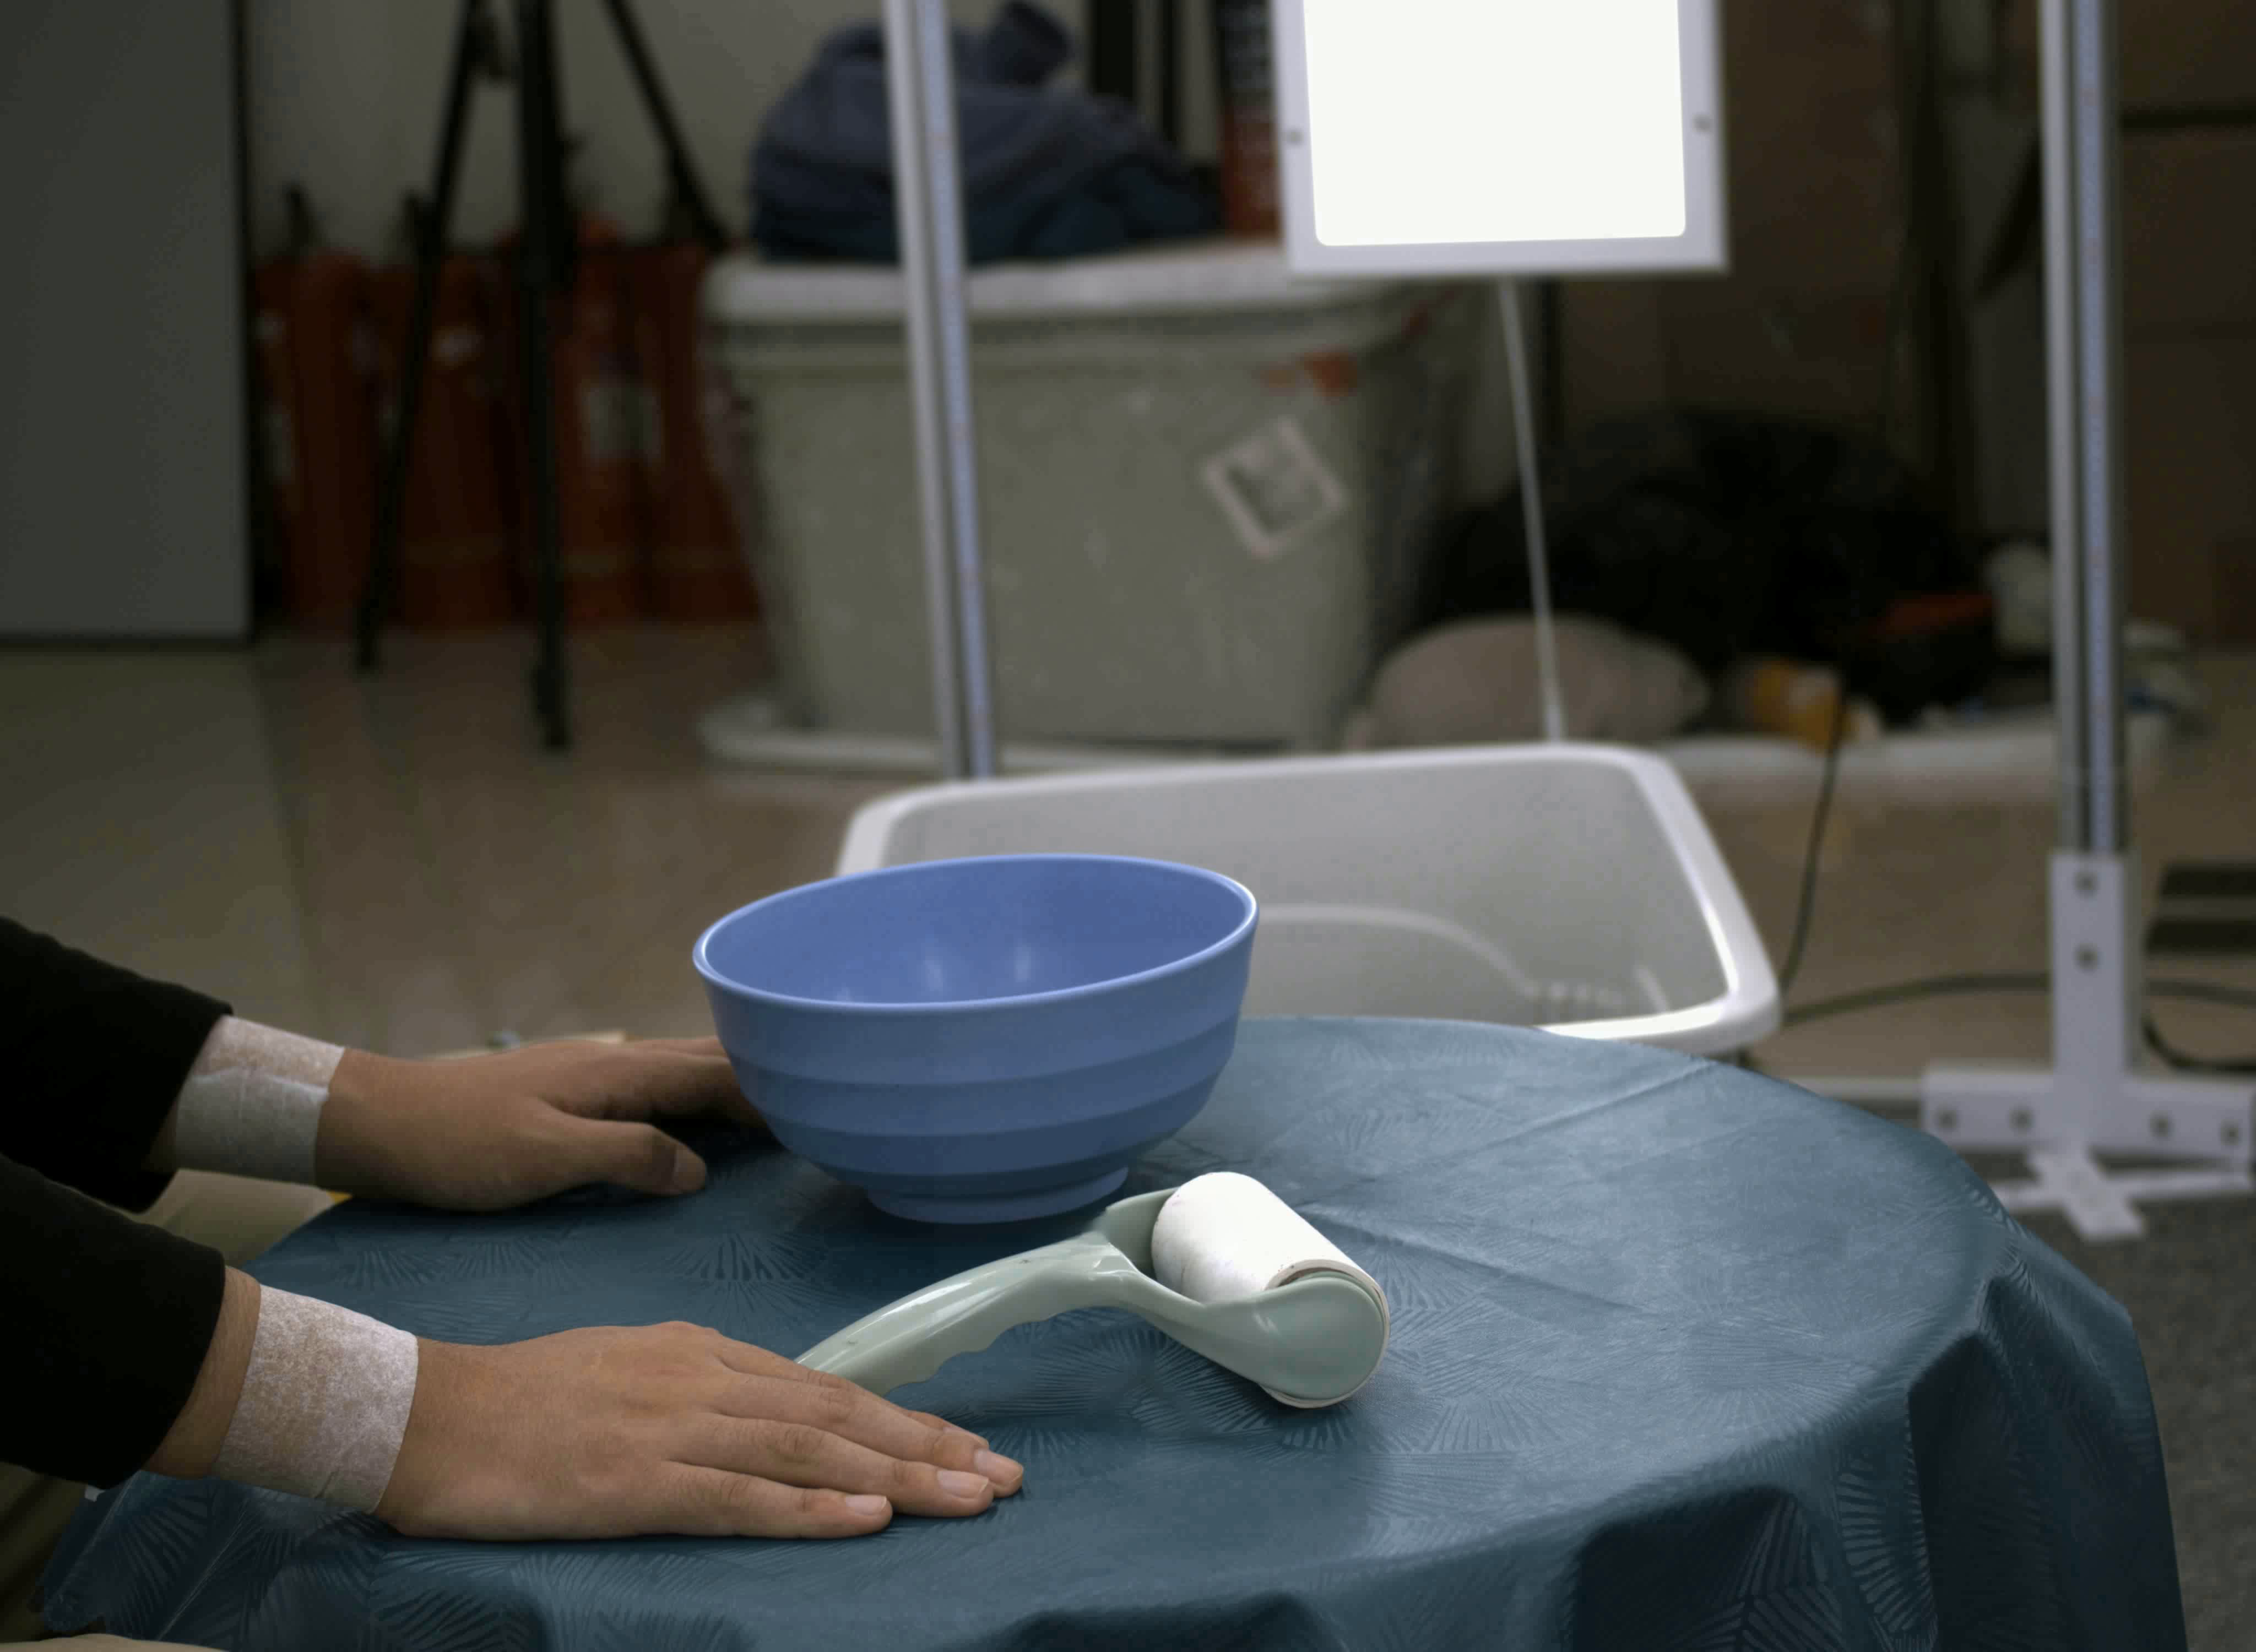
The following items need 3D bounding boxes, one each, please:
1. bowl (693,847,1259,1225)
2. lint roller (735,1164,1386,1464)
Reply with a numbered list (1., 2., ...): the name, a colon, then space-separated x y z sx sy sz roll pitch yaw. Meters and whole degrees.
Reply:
1. bowl: -0.049 0.079 1.910 0.196 0.096 0.196 -5 15 0
2. lint roller: -0.028 0.154 1.703 0.195 0.049 0.118 -10 16 -14
